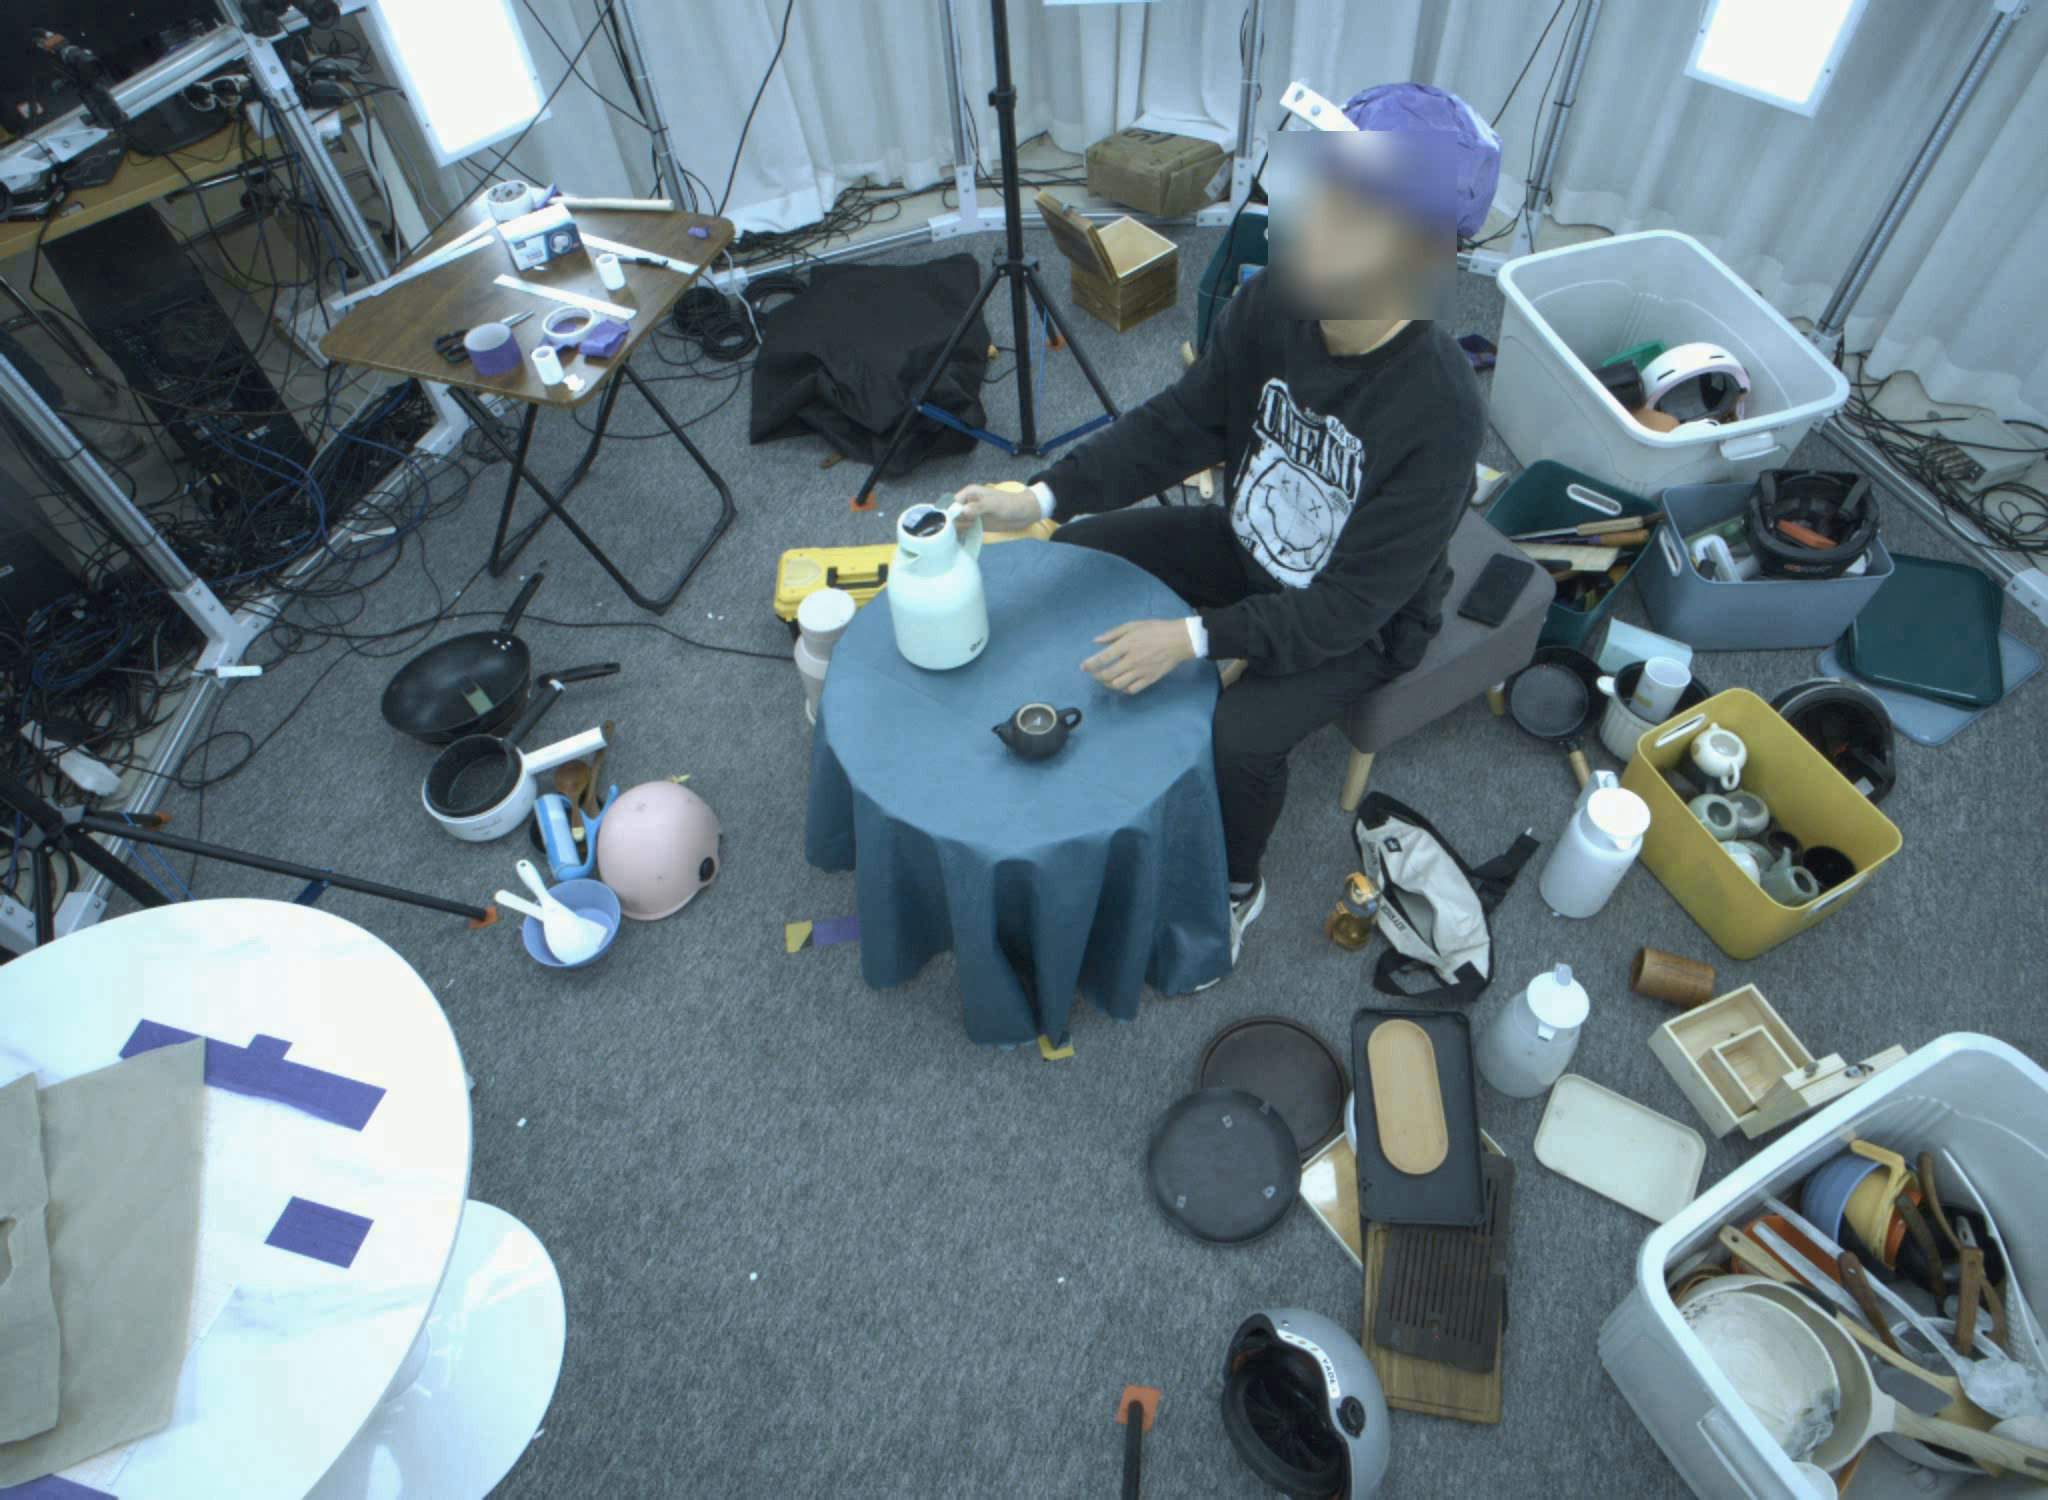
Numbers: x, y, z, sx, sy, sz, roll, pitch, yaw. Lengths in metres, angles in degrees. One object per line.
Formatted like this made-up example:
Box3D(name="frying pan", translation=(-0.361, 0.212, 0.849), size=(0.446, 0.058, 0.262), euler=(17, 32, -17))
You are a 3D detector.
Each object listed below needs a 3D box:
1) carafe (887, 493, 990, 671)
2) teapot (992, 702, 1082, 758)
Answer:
Box3D(name="carafe", translation=(-0.125, -0.255, 1.815), size=(0.142, 0.259, 0.187), euler=(25, 56, 22))
Box3D(name="teapot", translation=(0.019, -0.030, 1.771), size=(0.134, 0.053, 0.089), euler=(-14, 57, -8))
